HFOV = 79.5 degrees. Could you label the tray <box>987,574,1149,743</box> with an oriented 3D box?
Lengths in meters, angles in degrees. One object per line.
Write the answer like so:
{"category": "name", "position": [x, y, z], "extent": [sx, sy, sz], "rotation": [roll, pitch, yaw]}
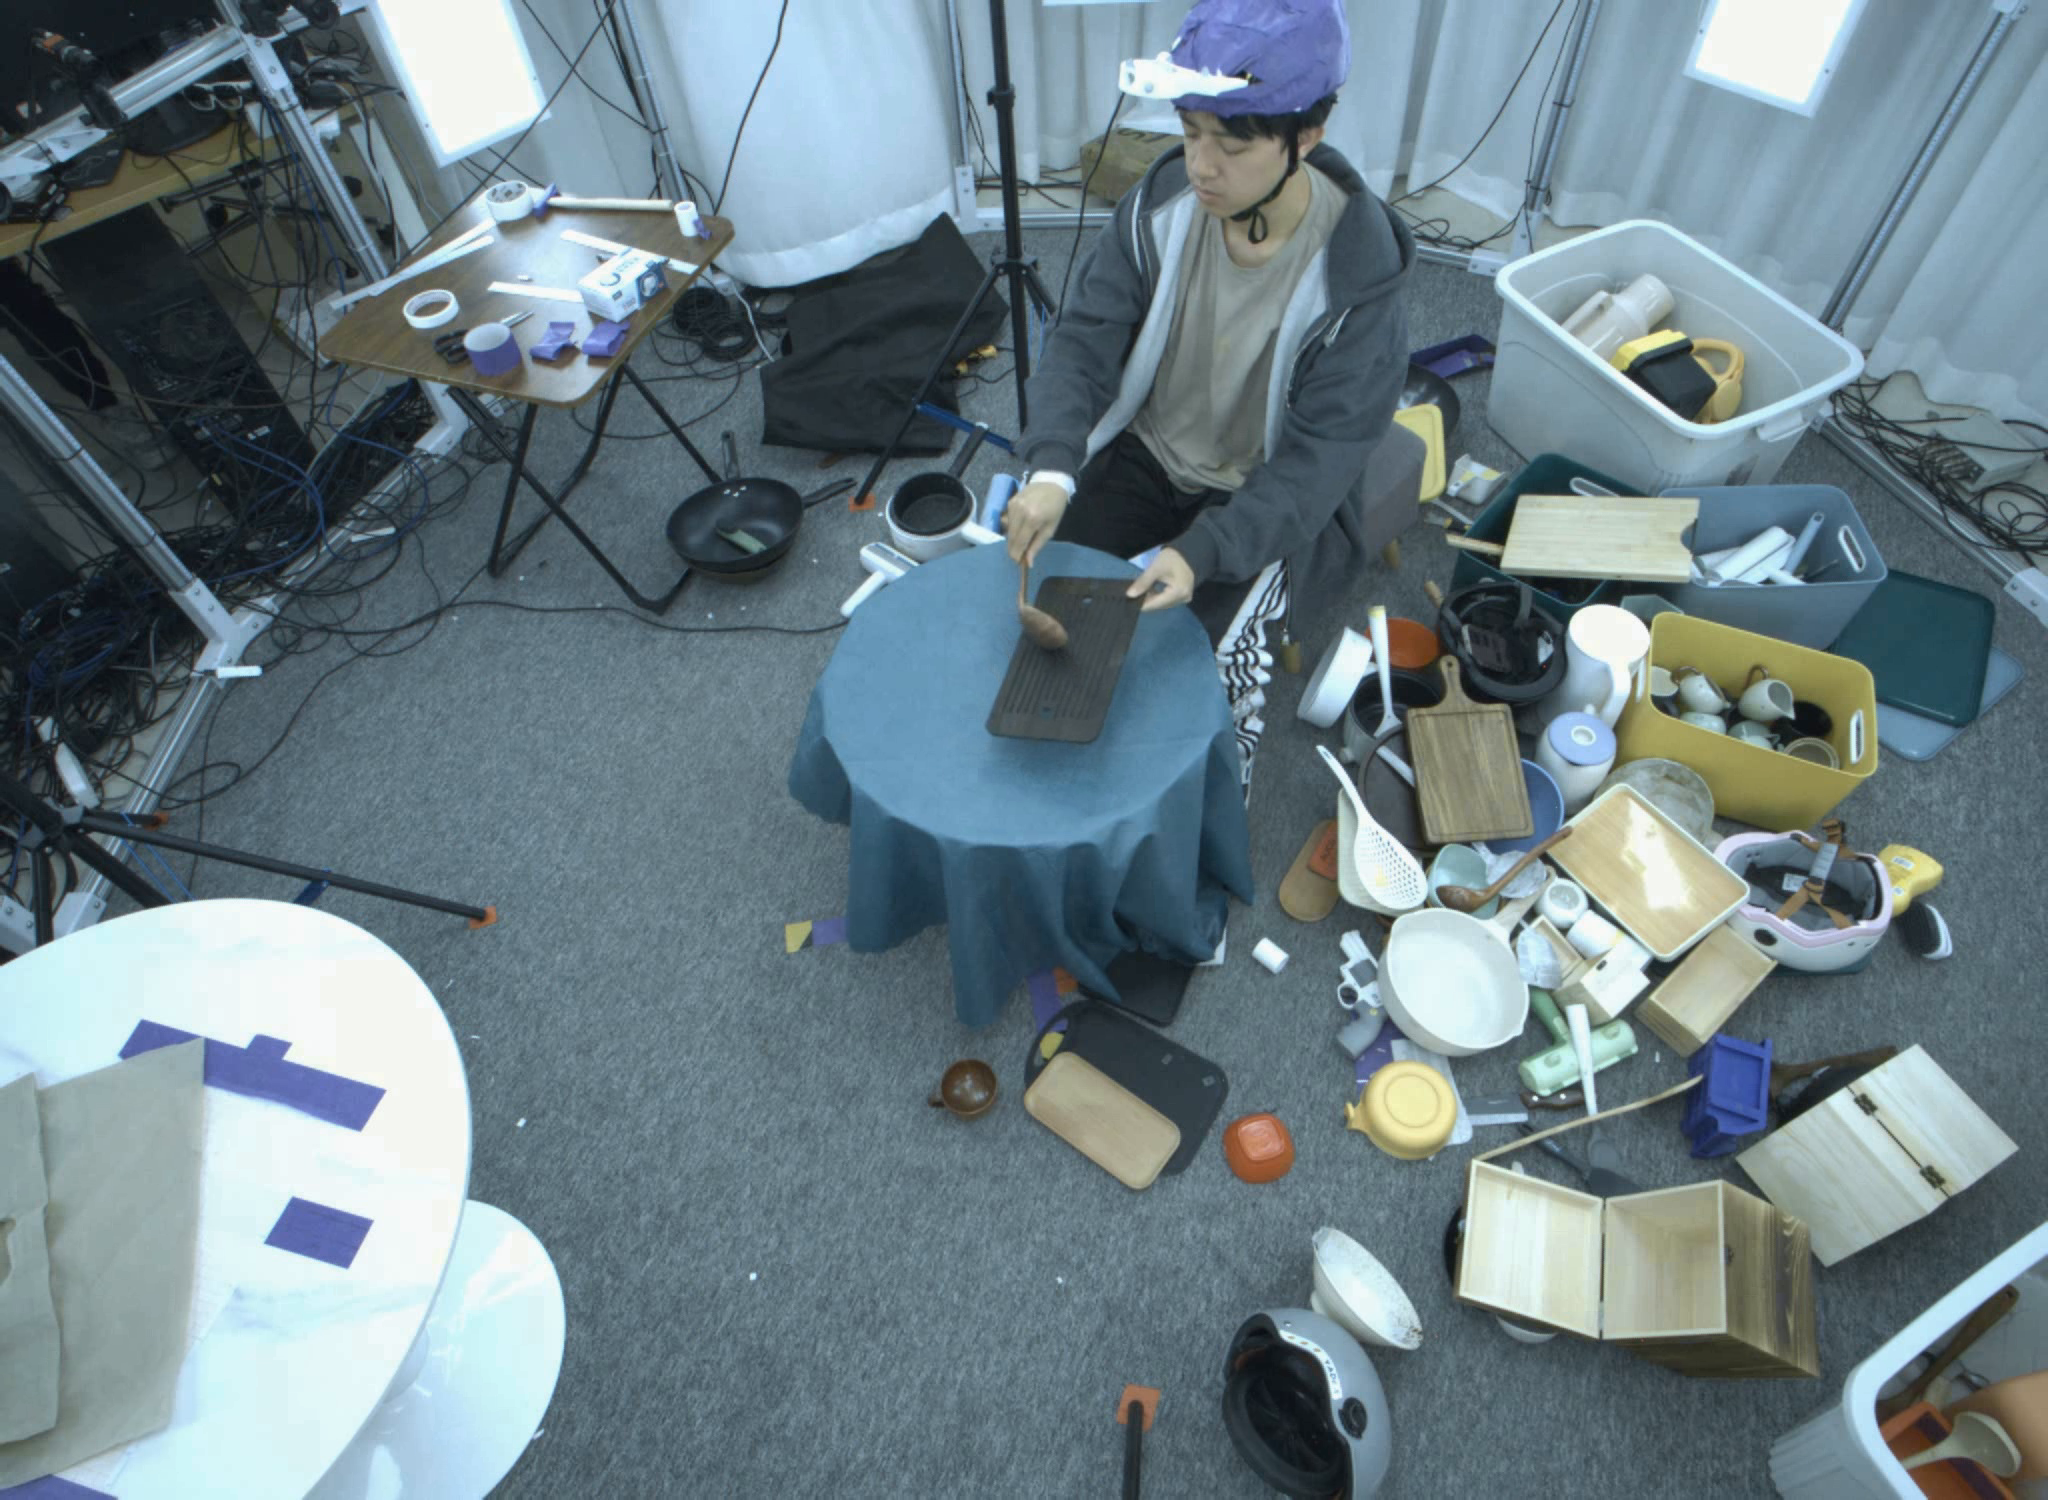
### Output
{"category": "tray", "position": [0.068, -0.137, 1.791], "extent": [0.167, 0.019, 0.305], "rotation": [7, 56, 21]}

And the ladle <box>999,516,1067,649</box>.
{"category": "ladle", "position": [0.011, -0.258, 1.824], "extent": [0.065, 0.077, 0.256], "rotation": [-13, 58, 3]}
